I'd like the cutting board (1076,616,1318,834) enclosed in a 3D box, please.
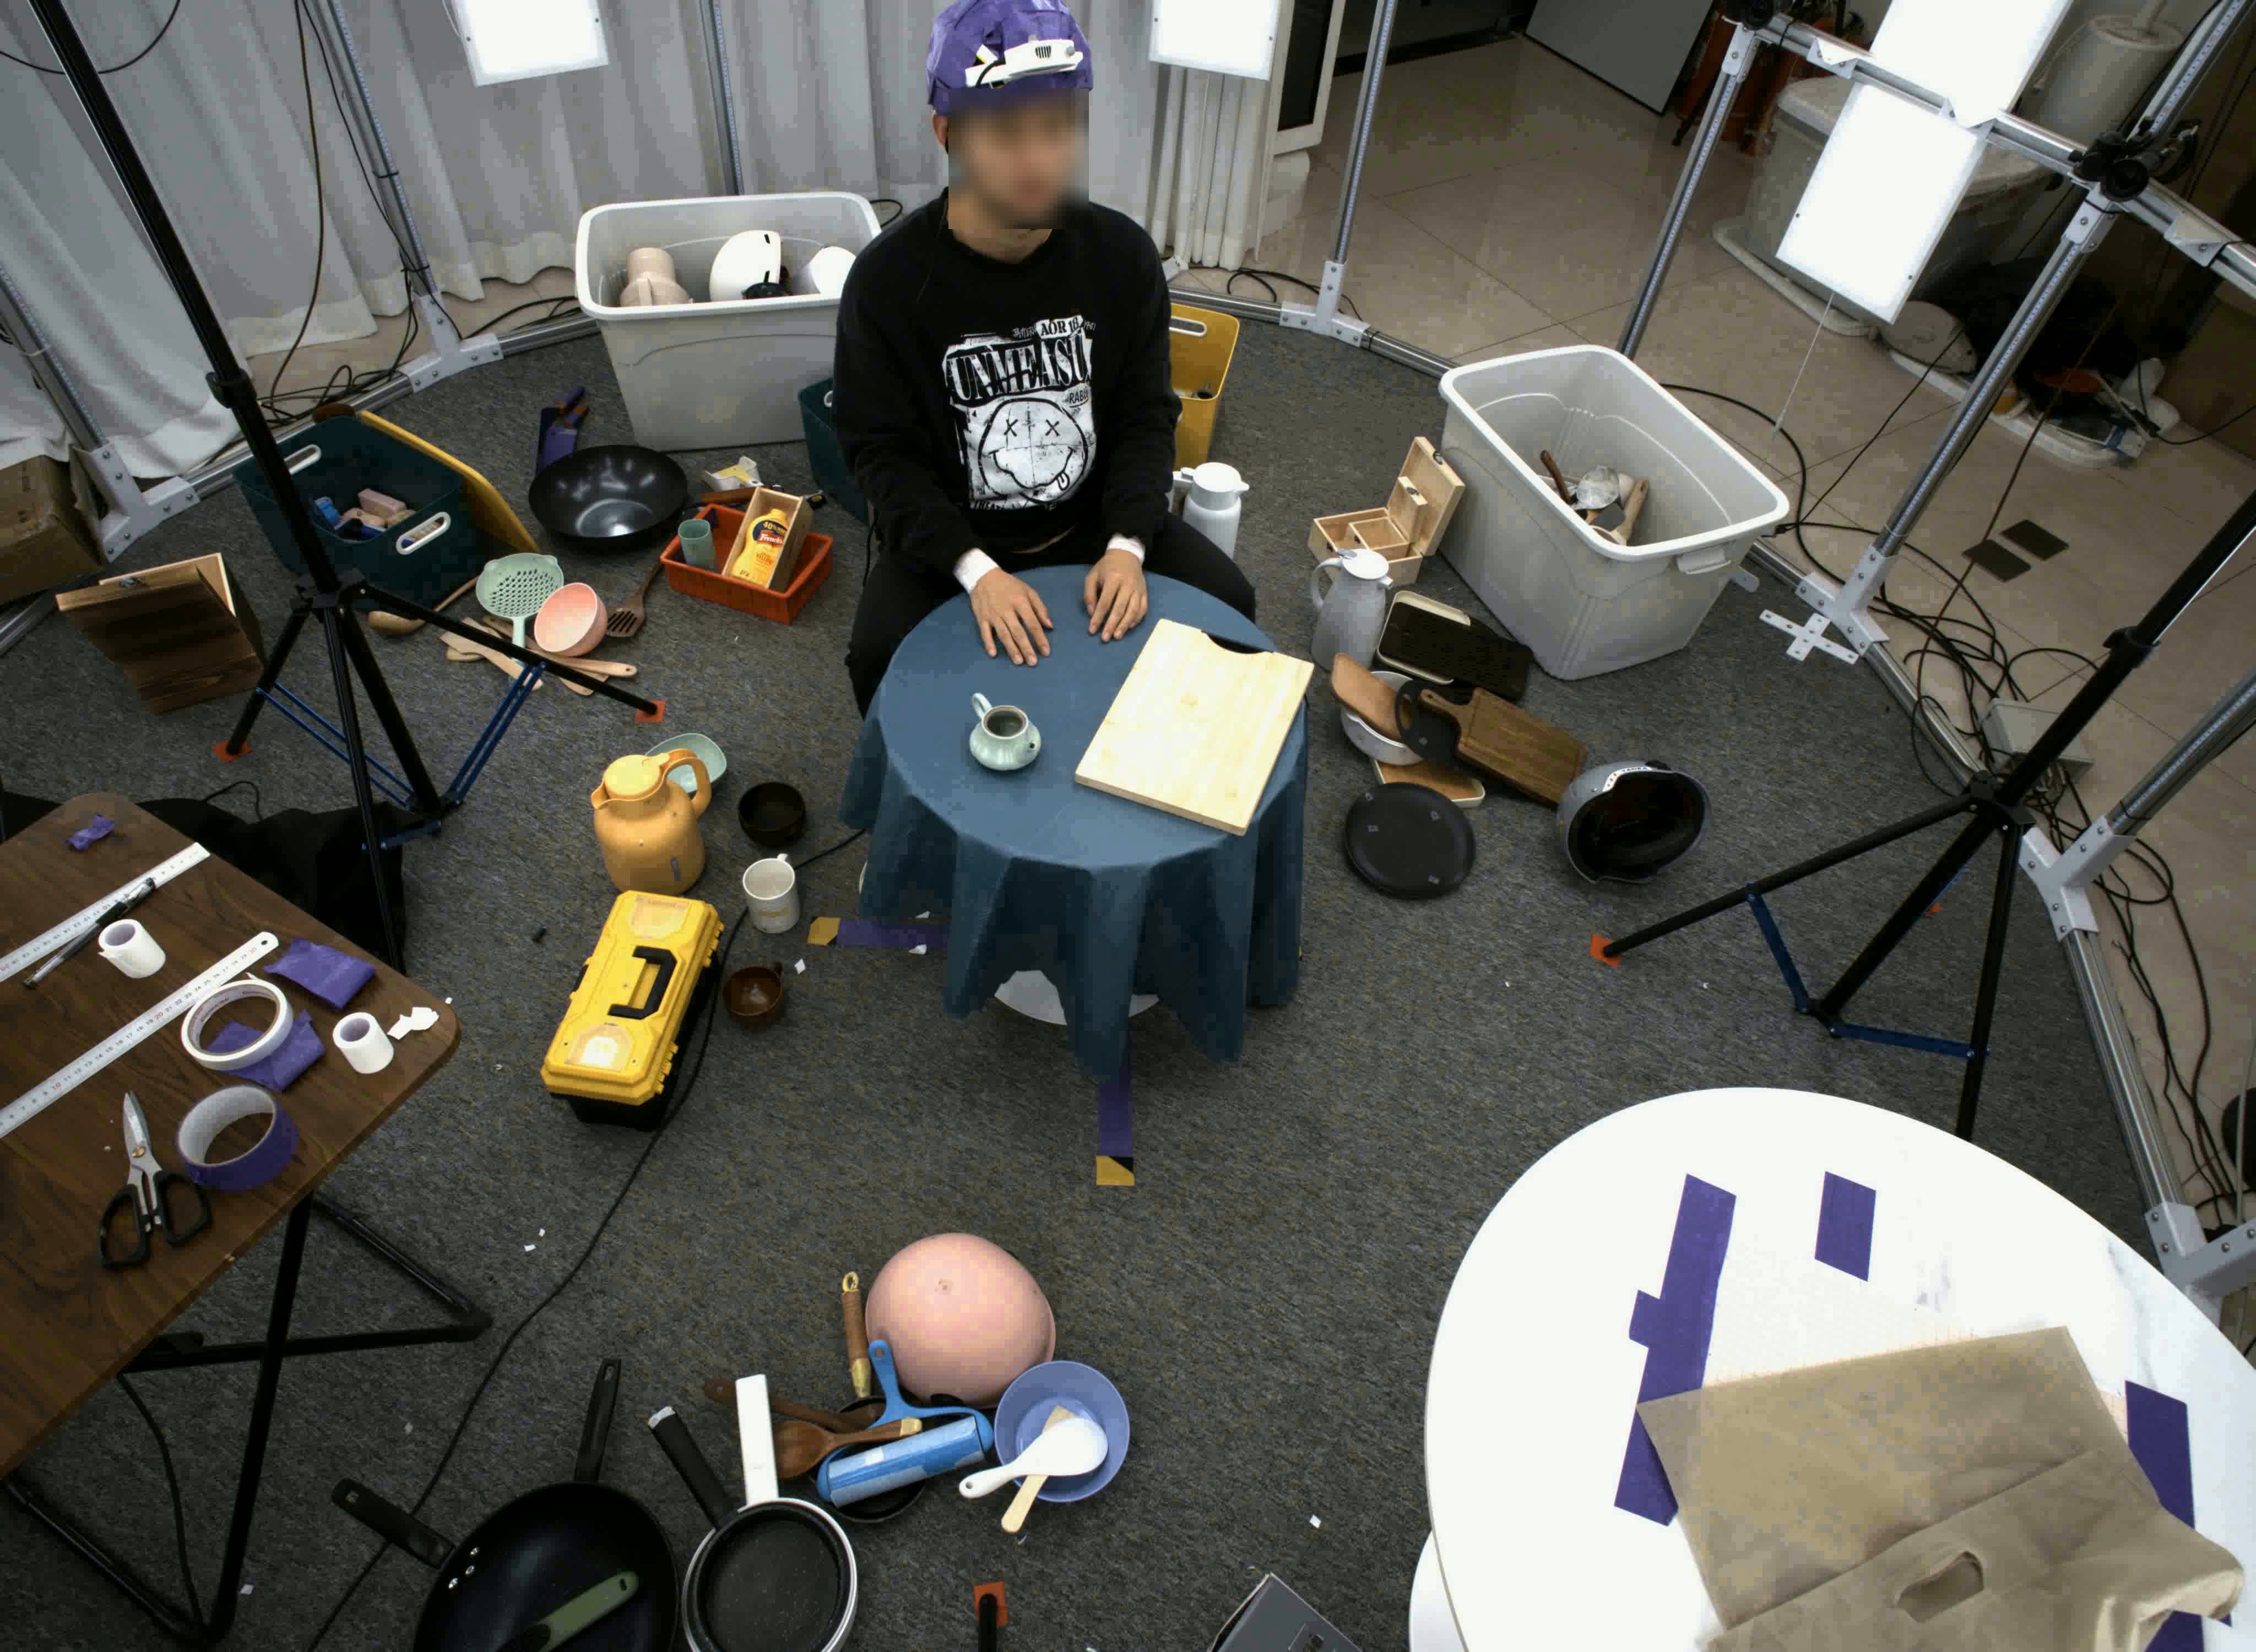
[{"bbox_3d":[0.102,-0.151,1.796,0.252,0.023,0.355,17,50,11],"label":"cutting board"}]

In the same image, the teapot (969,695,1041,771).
[{"bbox_3d":[-0.168,-0.125,1.728,0.097,0.060,0.139,-34,59,-27],"label":"teapot"}]
